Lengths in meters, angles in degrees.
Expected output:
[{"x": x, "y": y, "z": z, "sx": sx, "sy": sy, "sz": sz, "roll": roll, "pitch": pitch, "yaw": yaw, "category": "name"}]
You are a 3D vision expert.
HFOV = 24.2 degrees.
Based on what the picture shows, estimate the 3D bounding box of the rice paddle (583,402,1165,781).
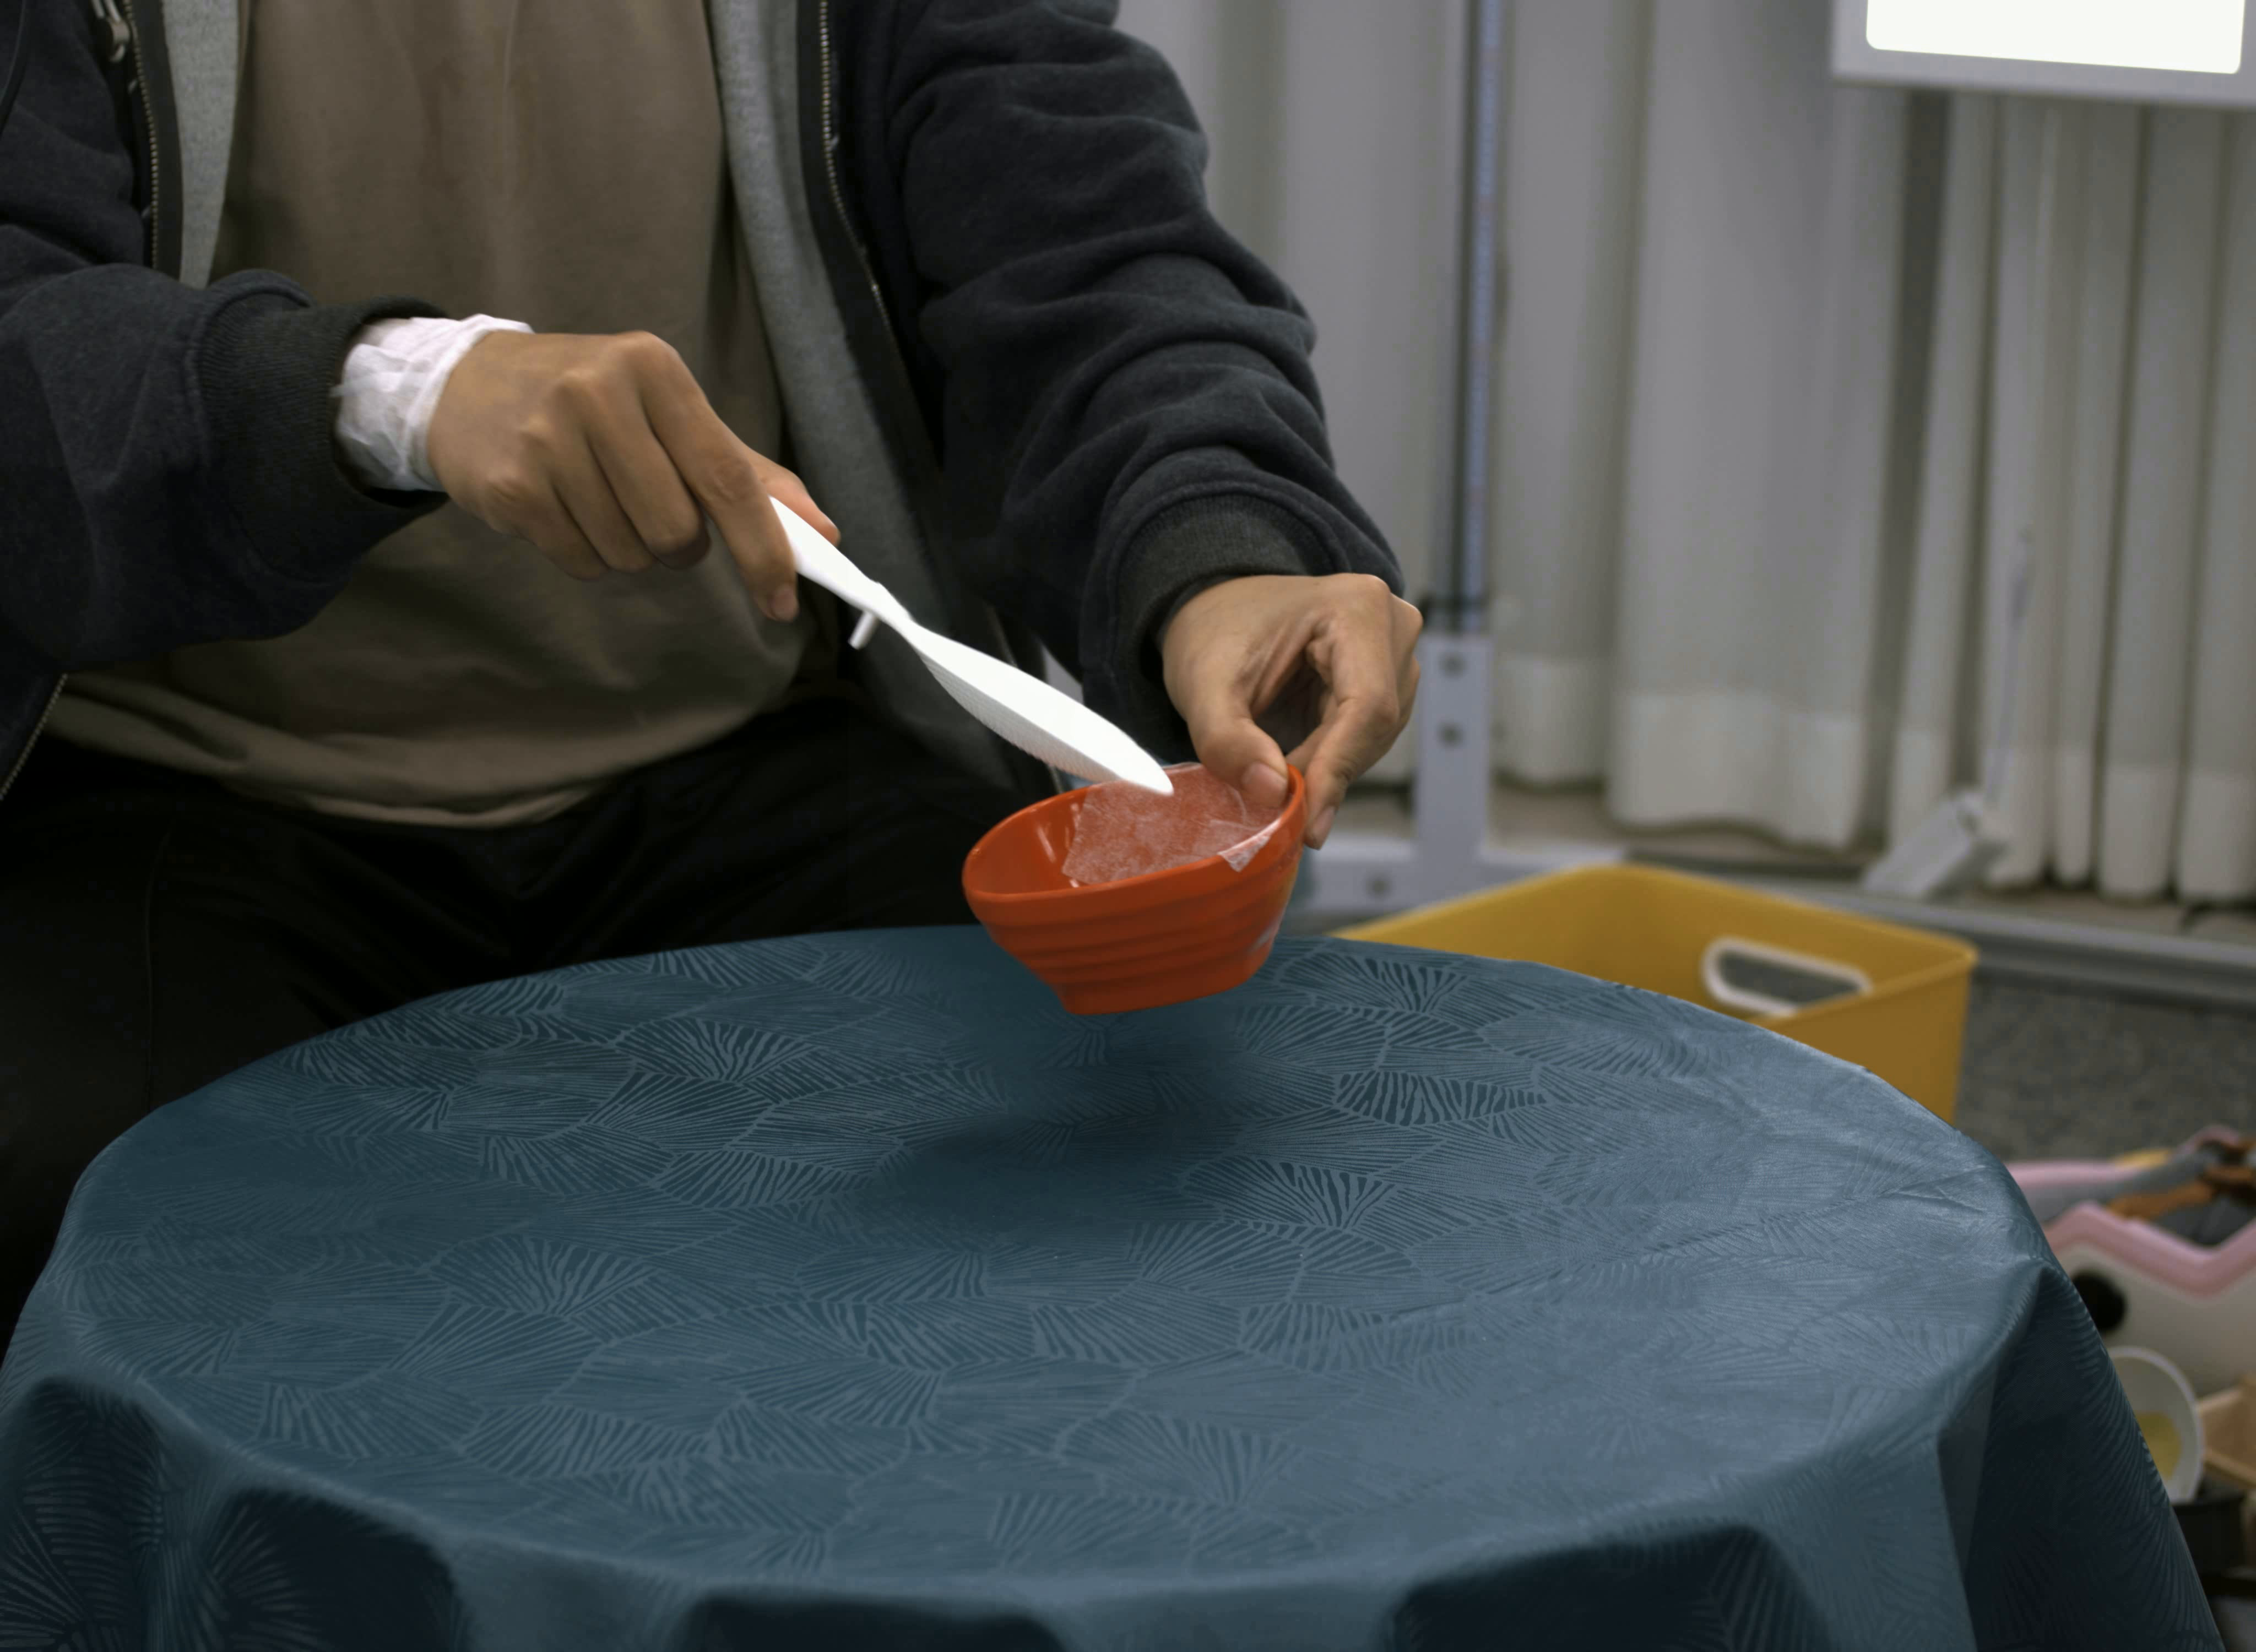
[{"x": -0.075, "y": -0.069, "z": 1.640, "sx": 0.204, "sy": 0.029, "sz": 0.069, "roll": 31, "pitch": 12, "yaw": 3, "category": "rice paddle"}]

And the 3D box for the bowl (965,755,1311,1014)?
[{"x": 0.008, "y": 0.021, "z": 1.659, "sx": 0.118, "sy": 0.052, "sz": 0.118, "roll": -12, "pitch": 18, "yaw": 5, "category": "bowl"}]
